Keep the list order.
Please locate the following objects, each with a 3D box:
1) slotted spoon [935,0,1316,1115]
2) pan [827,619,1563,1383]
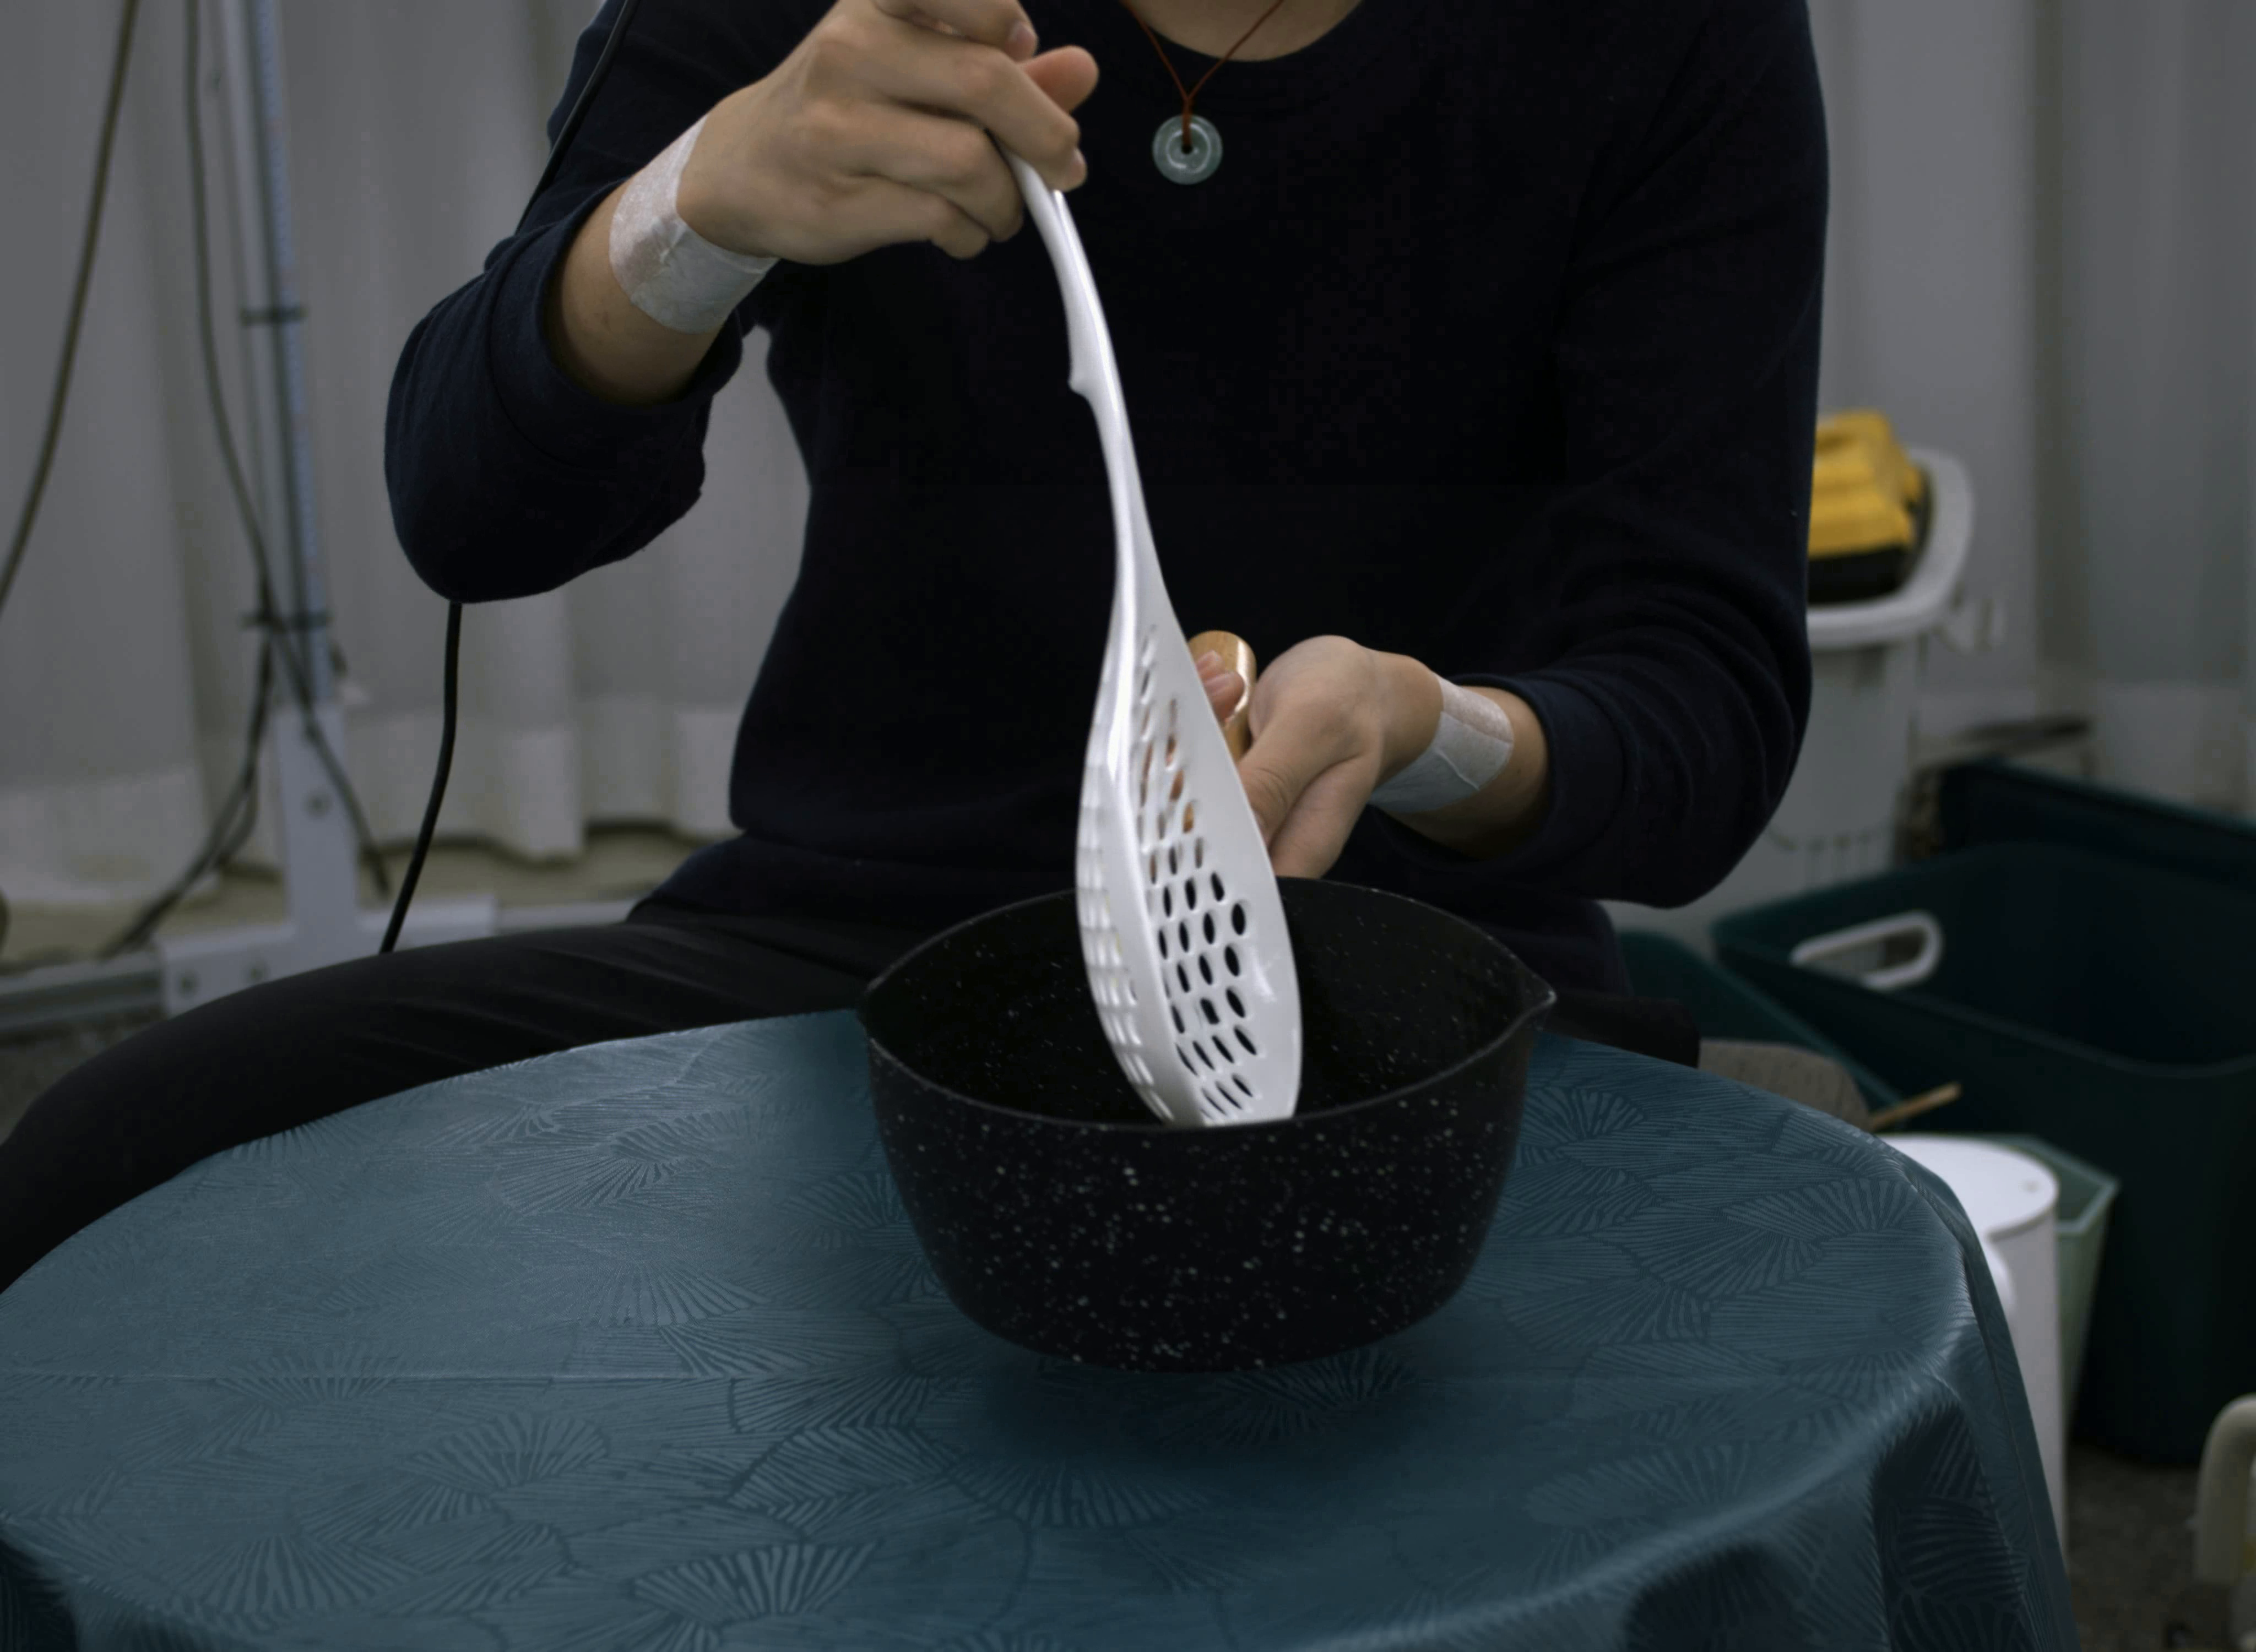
[{"bbox_3d":[-0.005,-0.071,1.537,0.050,0.348,0.137,-7,7,16],"label":"slotted spoon"},{"bbox_3d":[0.021,0.046,1.609,0.207,0.107,0.346,-3,22,2],"label":"pan"}]
